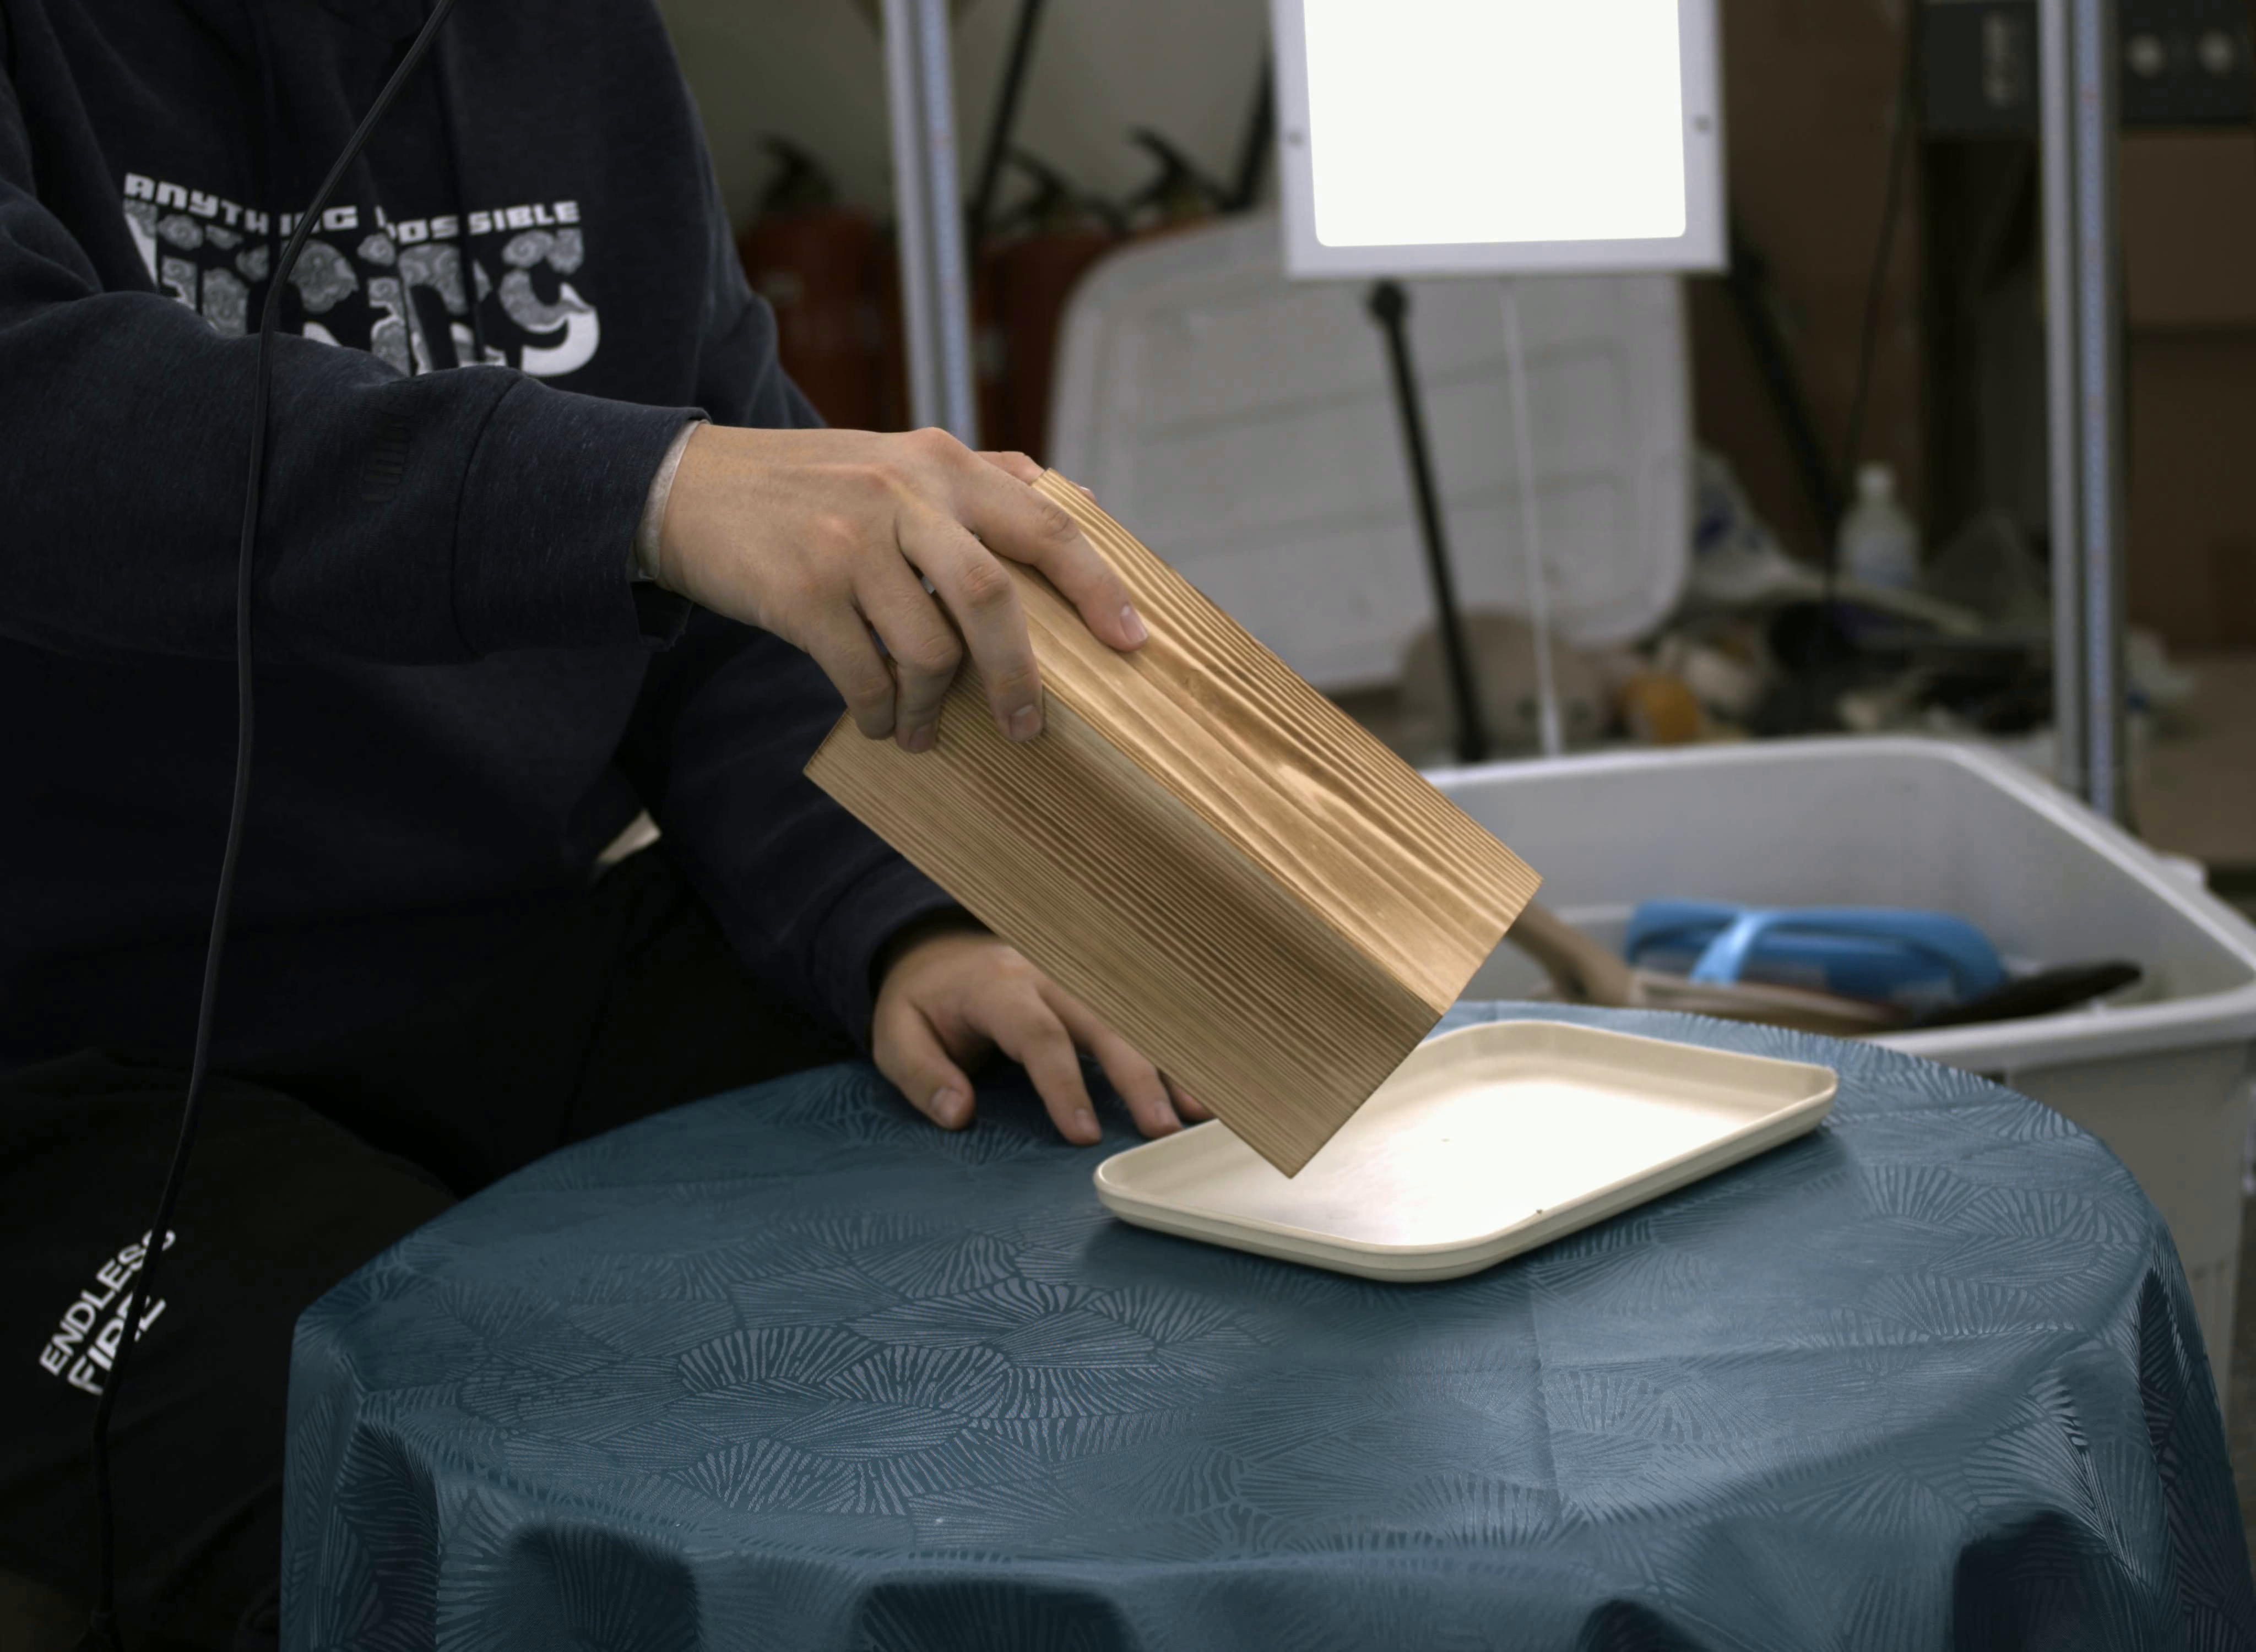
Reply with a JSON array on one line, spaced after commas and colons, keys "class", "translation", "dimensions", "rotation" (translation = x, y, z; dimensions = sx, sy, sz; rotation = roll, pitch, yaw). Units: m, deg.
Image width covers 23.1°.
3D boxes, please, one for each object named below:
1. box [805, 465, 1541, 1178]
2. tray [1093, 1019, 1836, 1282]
[{"class": "box", "translation": [0.013, -0.001, 1.792], "dimensions": [0.078, 0.211, 0.109], "rotation": [-48, -3, -43]}, {"class": "tray", "translation": [0.118, 0.110, 1.887], "dimensions": [0.233, 0.017, 0.175], "rotation": [-18, 18, -42]}]
